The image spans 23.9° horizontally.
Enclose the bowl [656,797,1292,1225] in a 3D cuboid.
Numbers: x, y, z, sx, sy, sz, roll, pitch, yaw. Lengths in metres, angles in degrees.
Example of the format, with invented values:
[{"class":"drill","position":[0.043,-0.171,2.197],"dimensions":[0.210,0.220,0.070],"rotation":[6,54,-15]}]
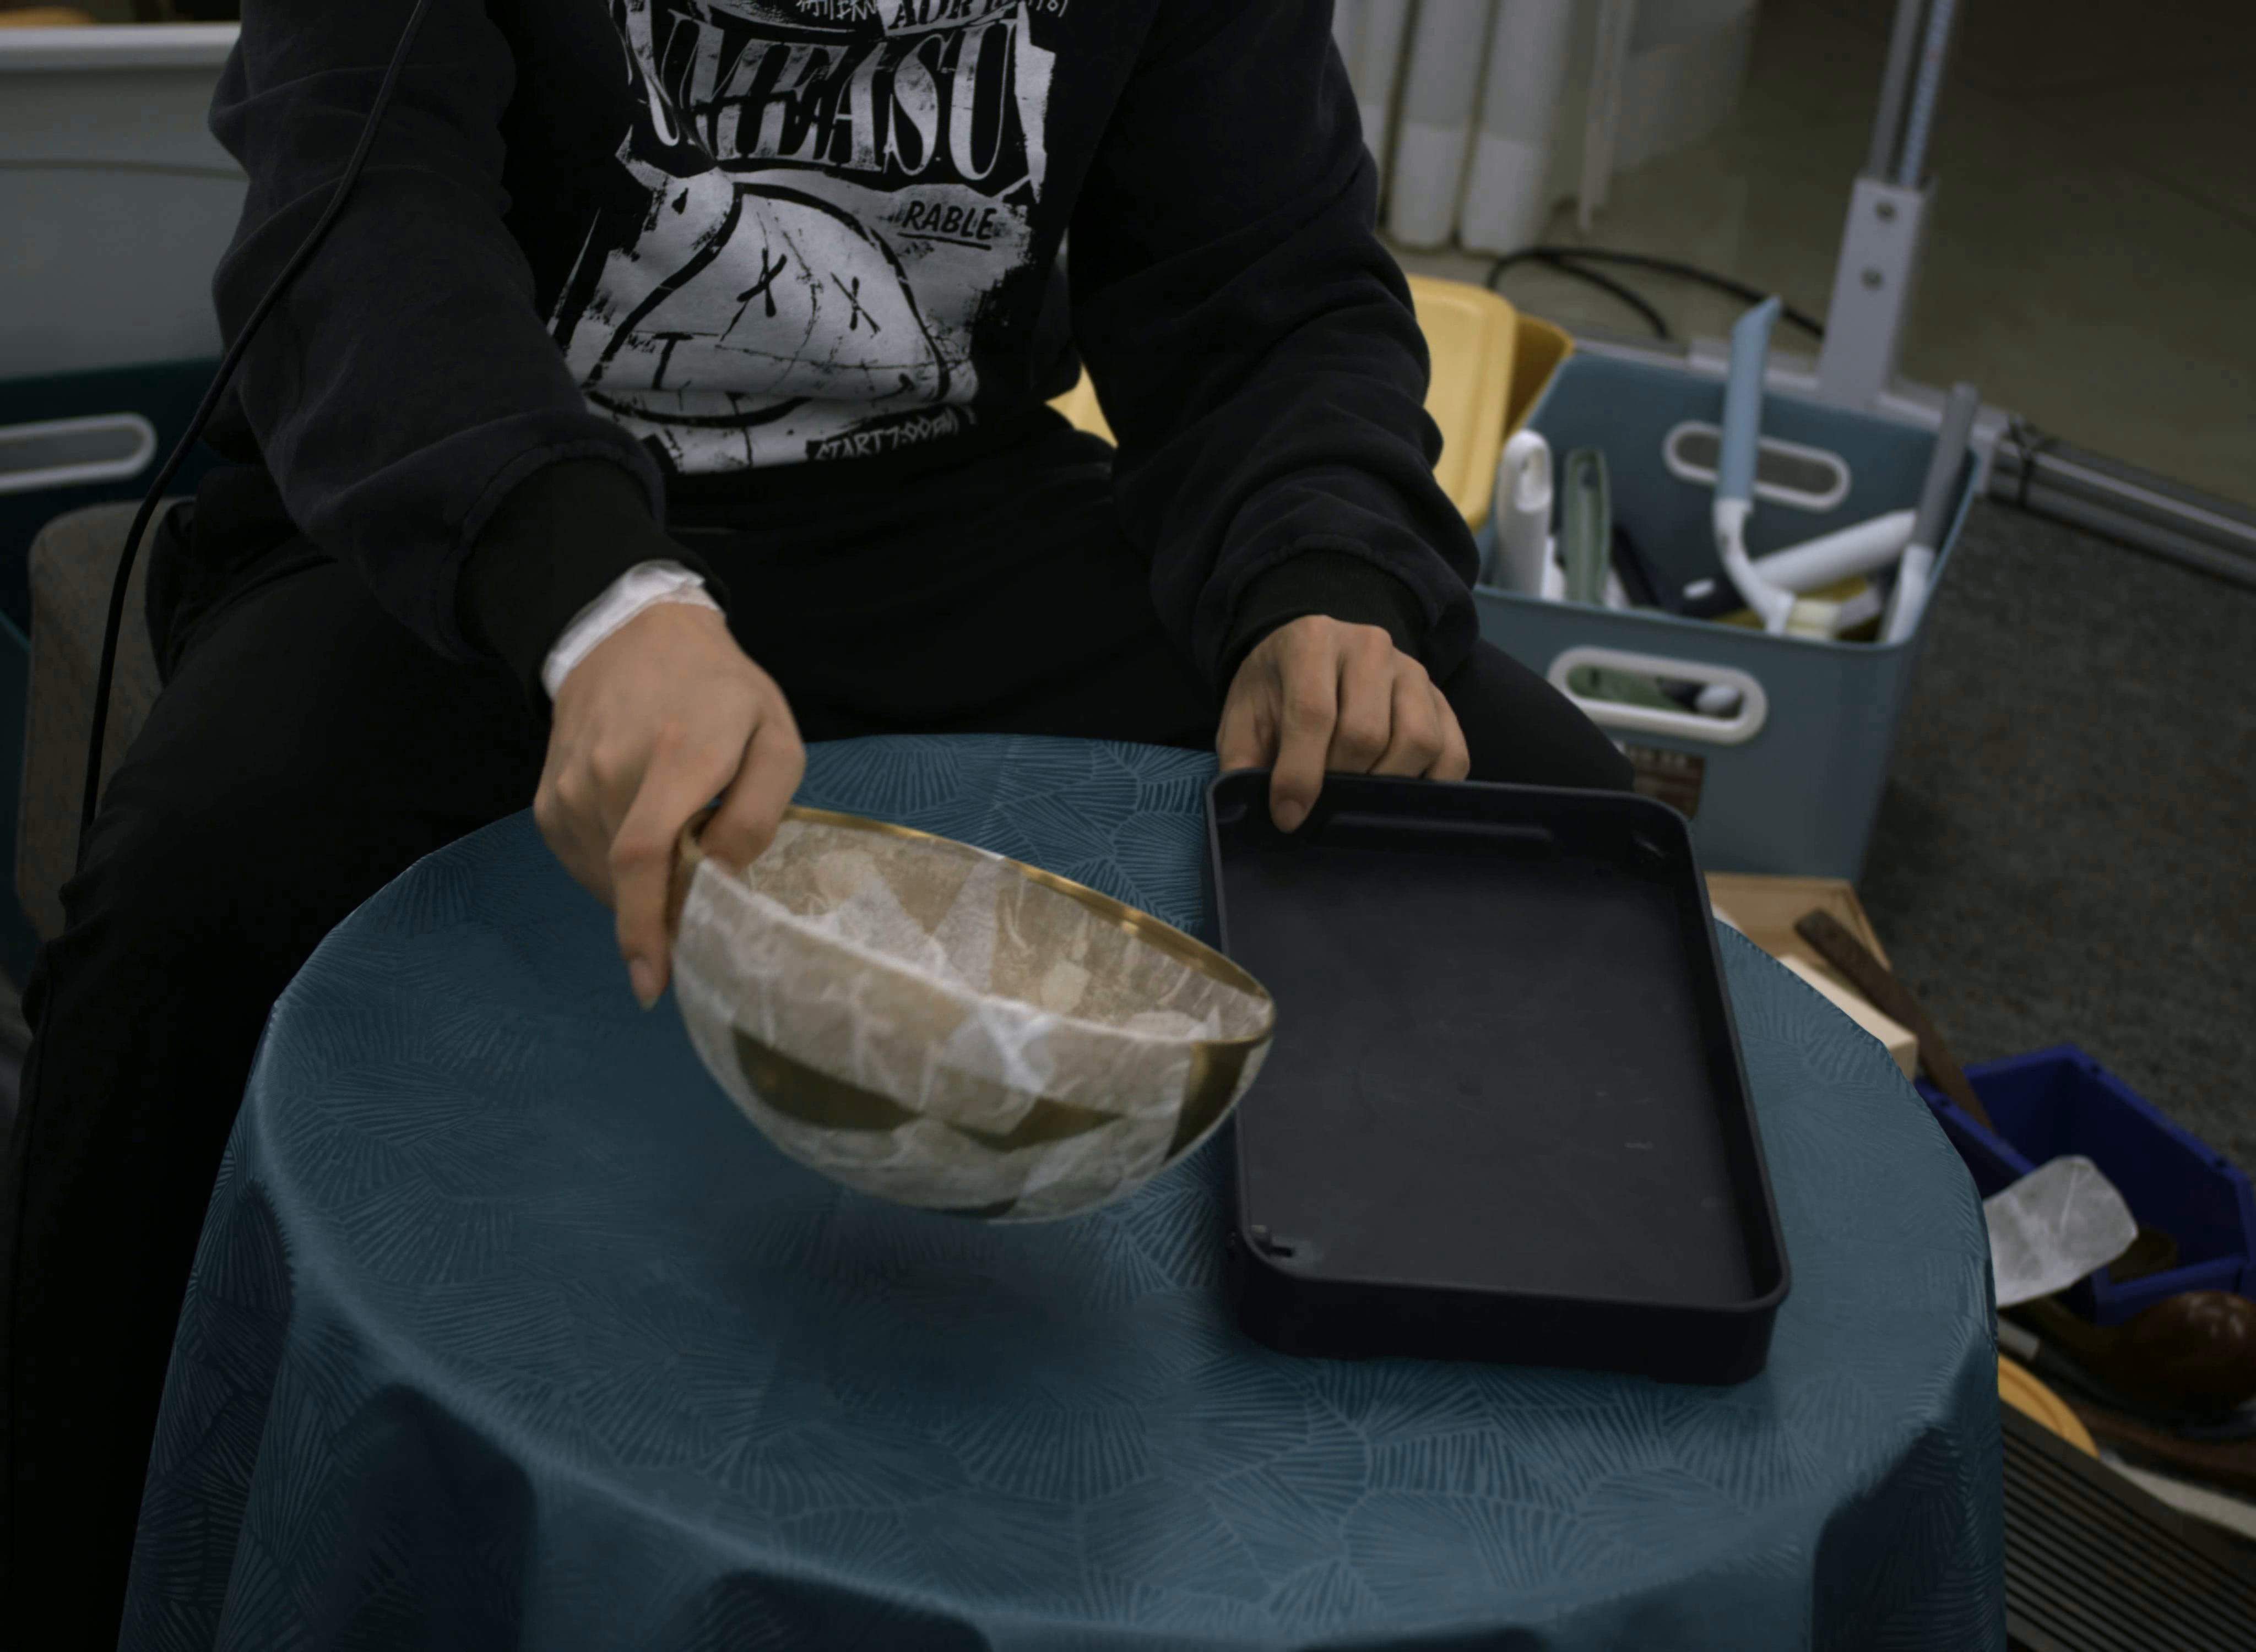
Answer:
[{"class":"bowl","position":[-0.059,0.071,1.695],"dimensions":[0.214,0.094,0.215],"rotation":[16,12,-4]}]

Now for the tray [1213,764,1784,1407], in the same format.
[{"class":"tray","position":[0.121,0.084,1.848],"dimensions":[0.183,0.037,0.320],"rotation":[6,32,-3]}]
